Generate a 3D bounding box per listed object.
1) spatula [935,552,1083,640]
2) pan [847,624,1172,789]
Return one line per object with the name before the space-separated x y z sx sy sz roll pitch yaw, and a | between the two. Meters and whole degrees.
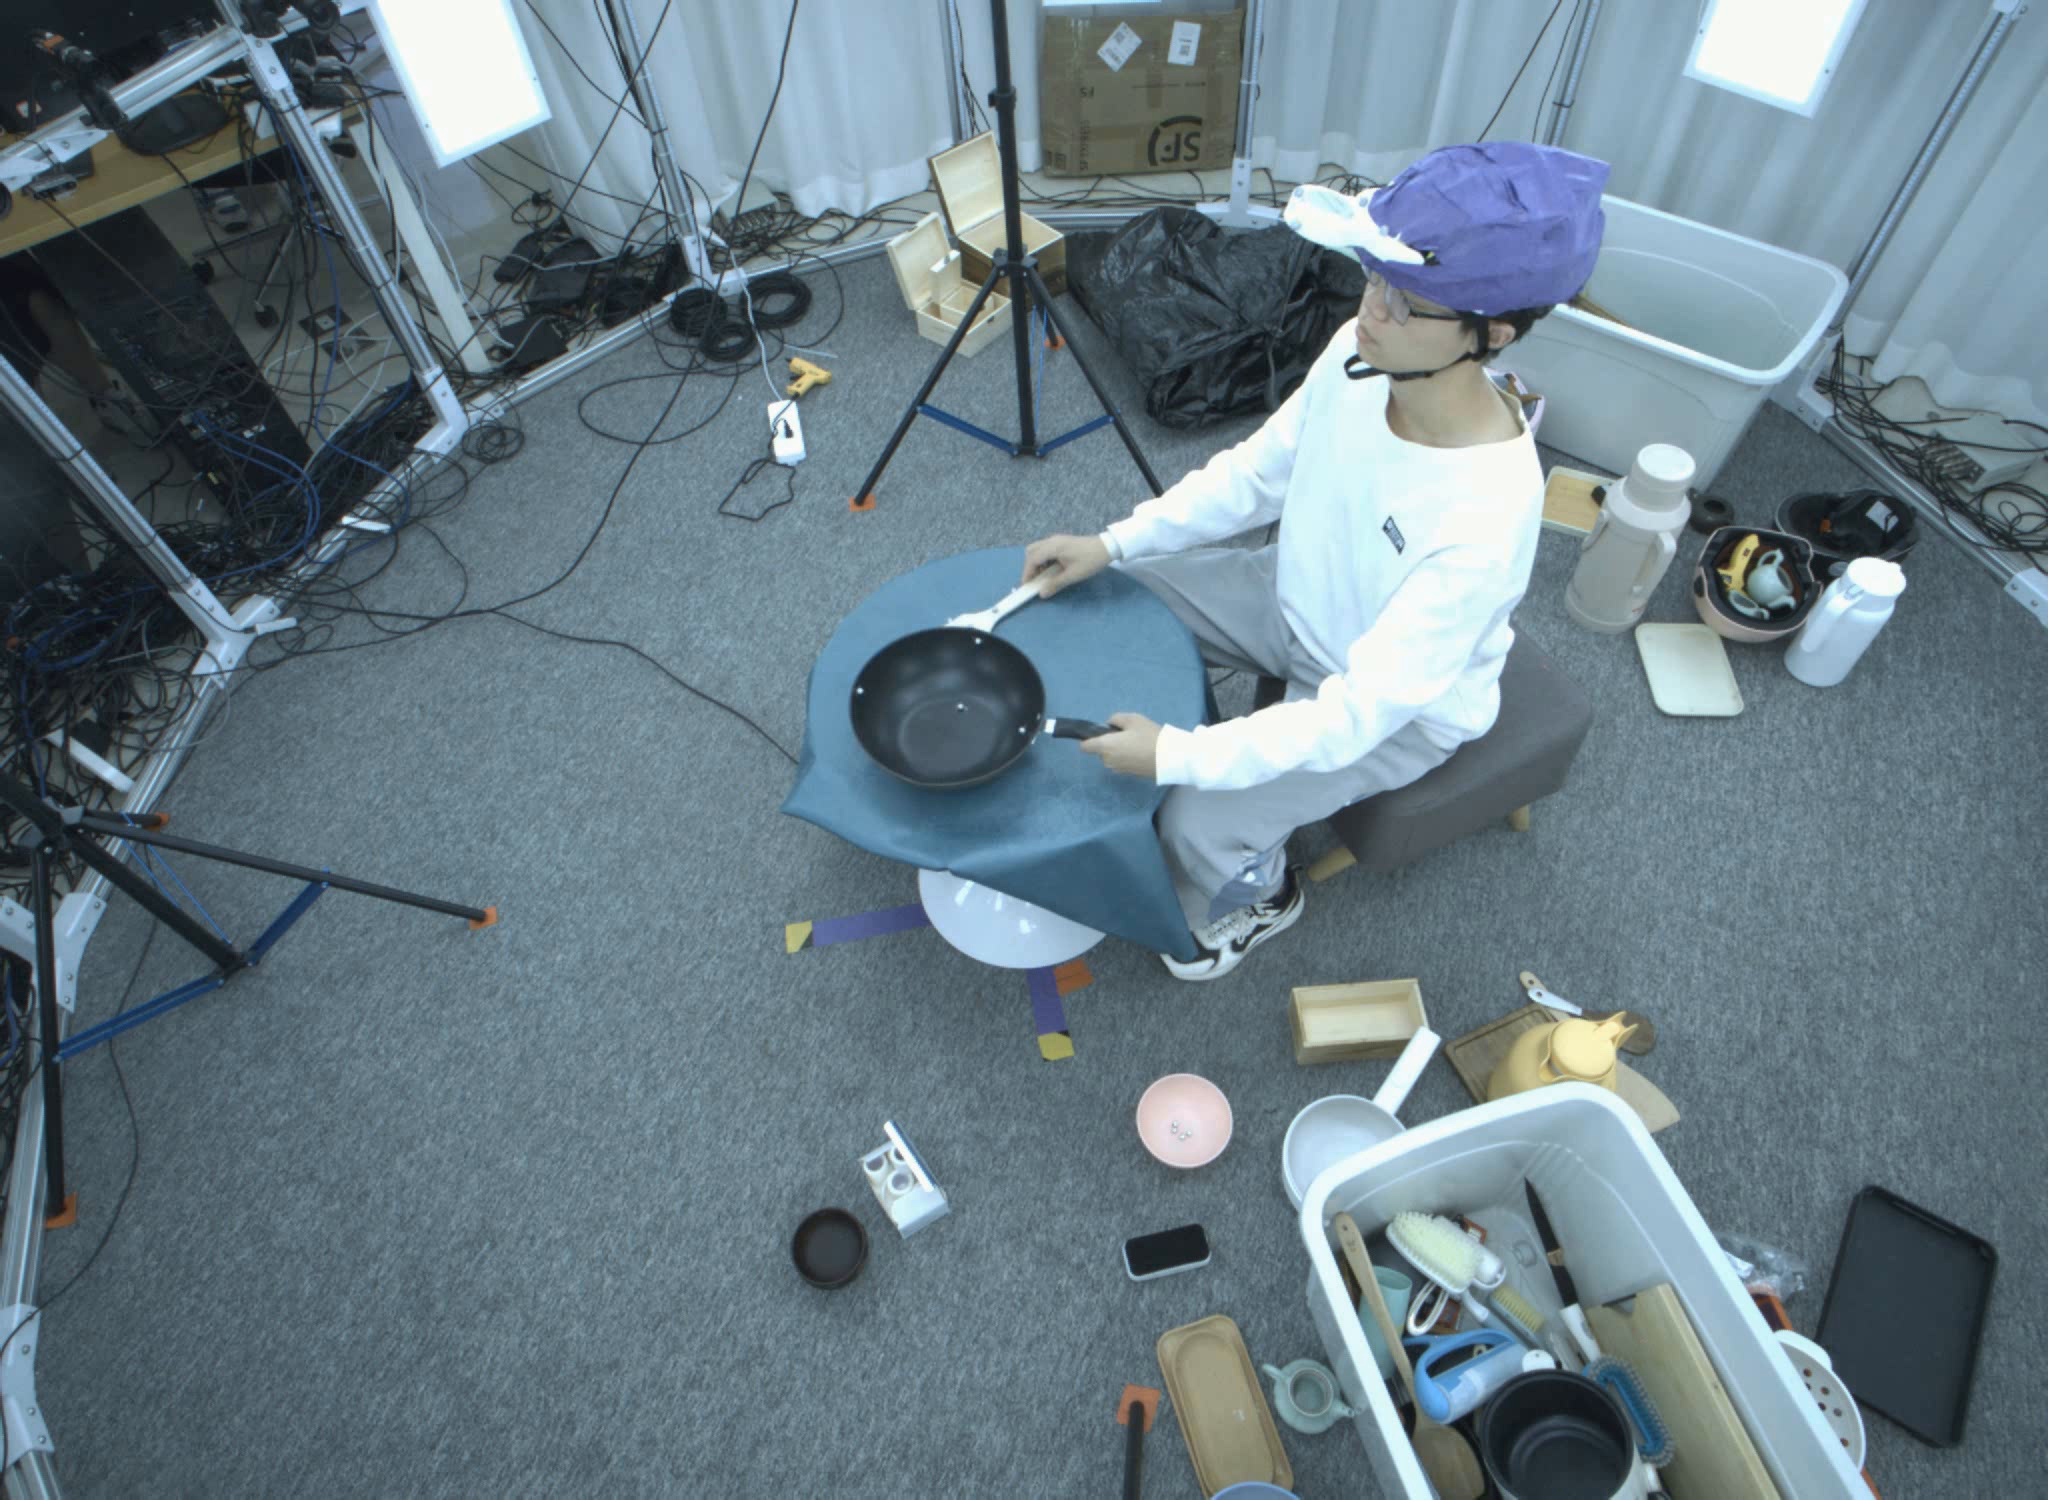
spatula | -0.024 -0.233 1.936 0.295 0.011 0.071 -36 58 -18
pan | -0.021 -0.030 1.746 0.462 0.087 0.287 12 56 5
